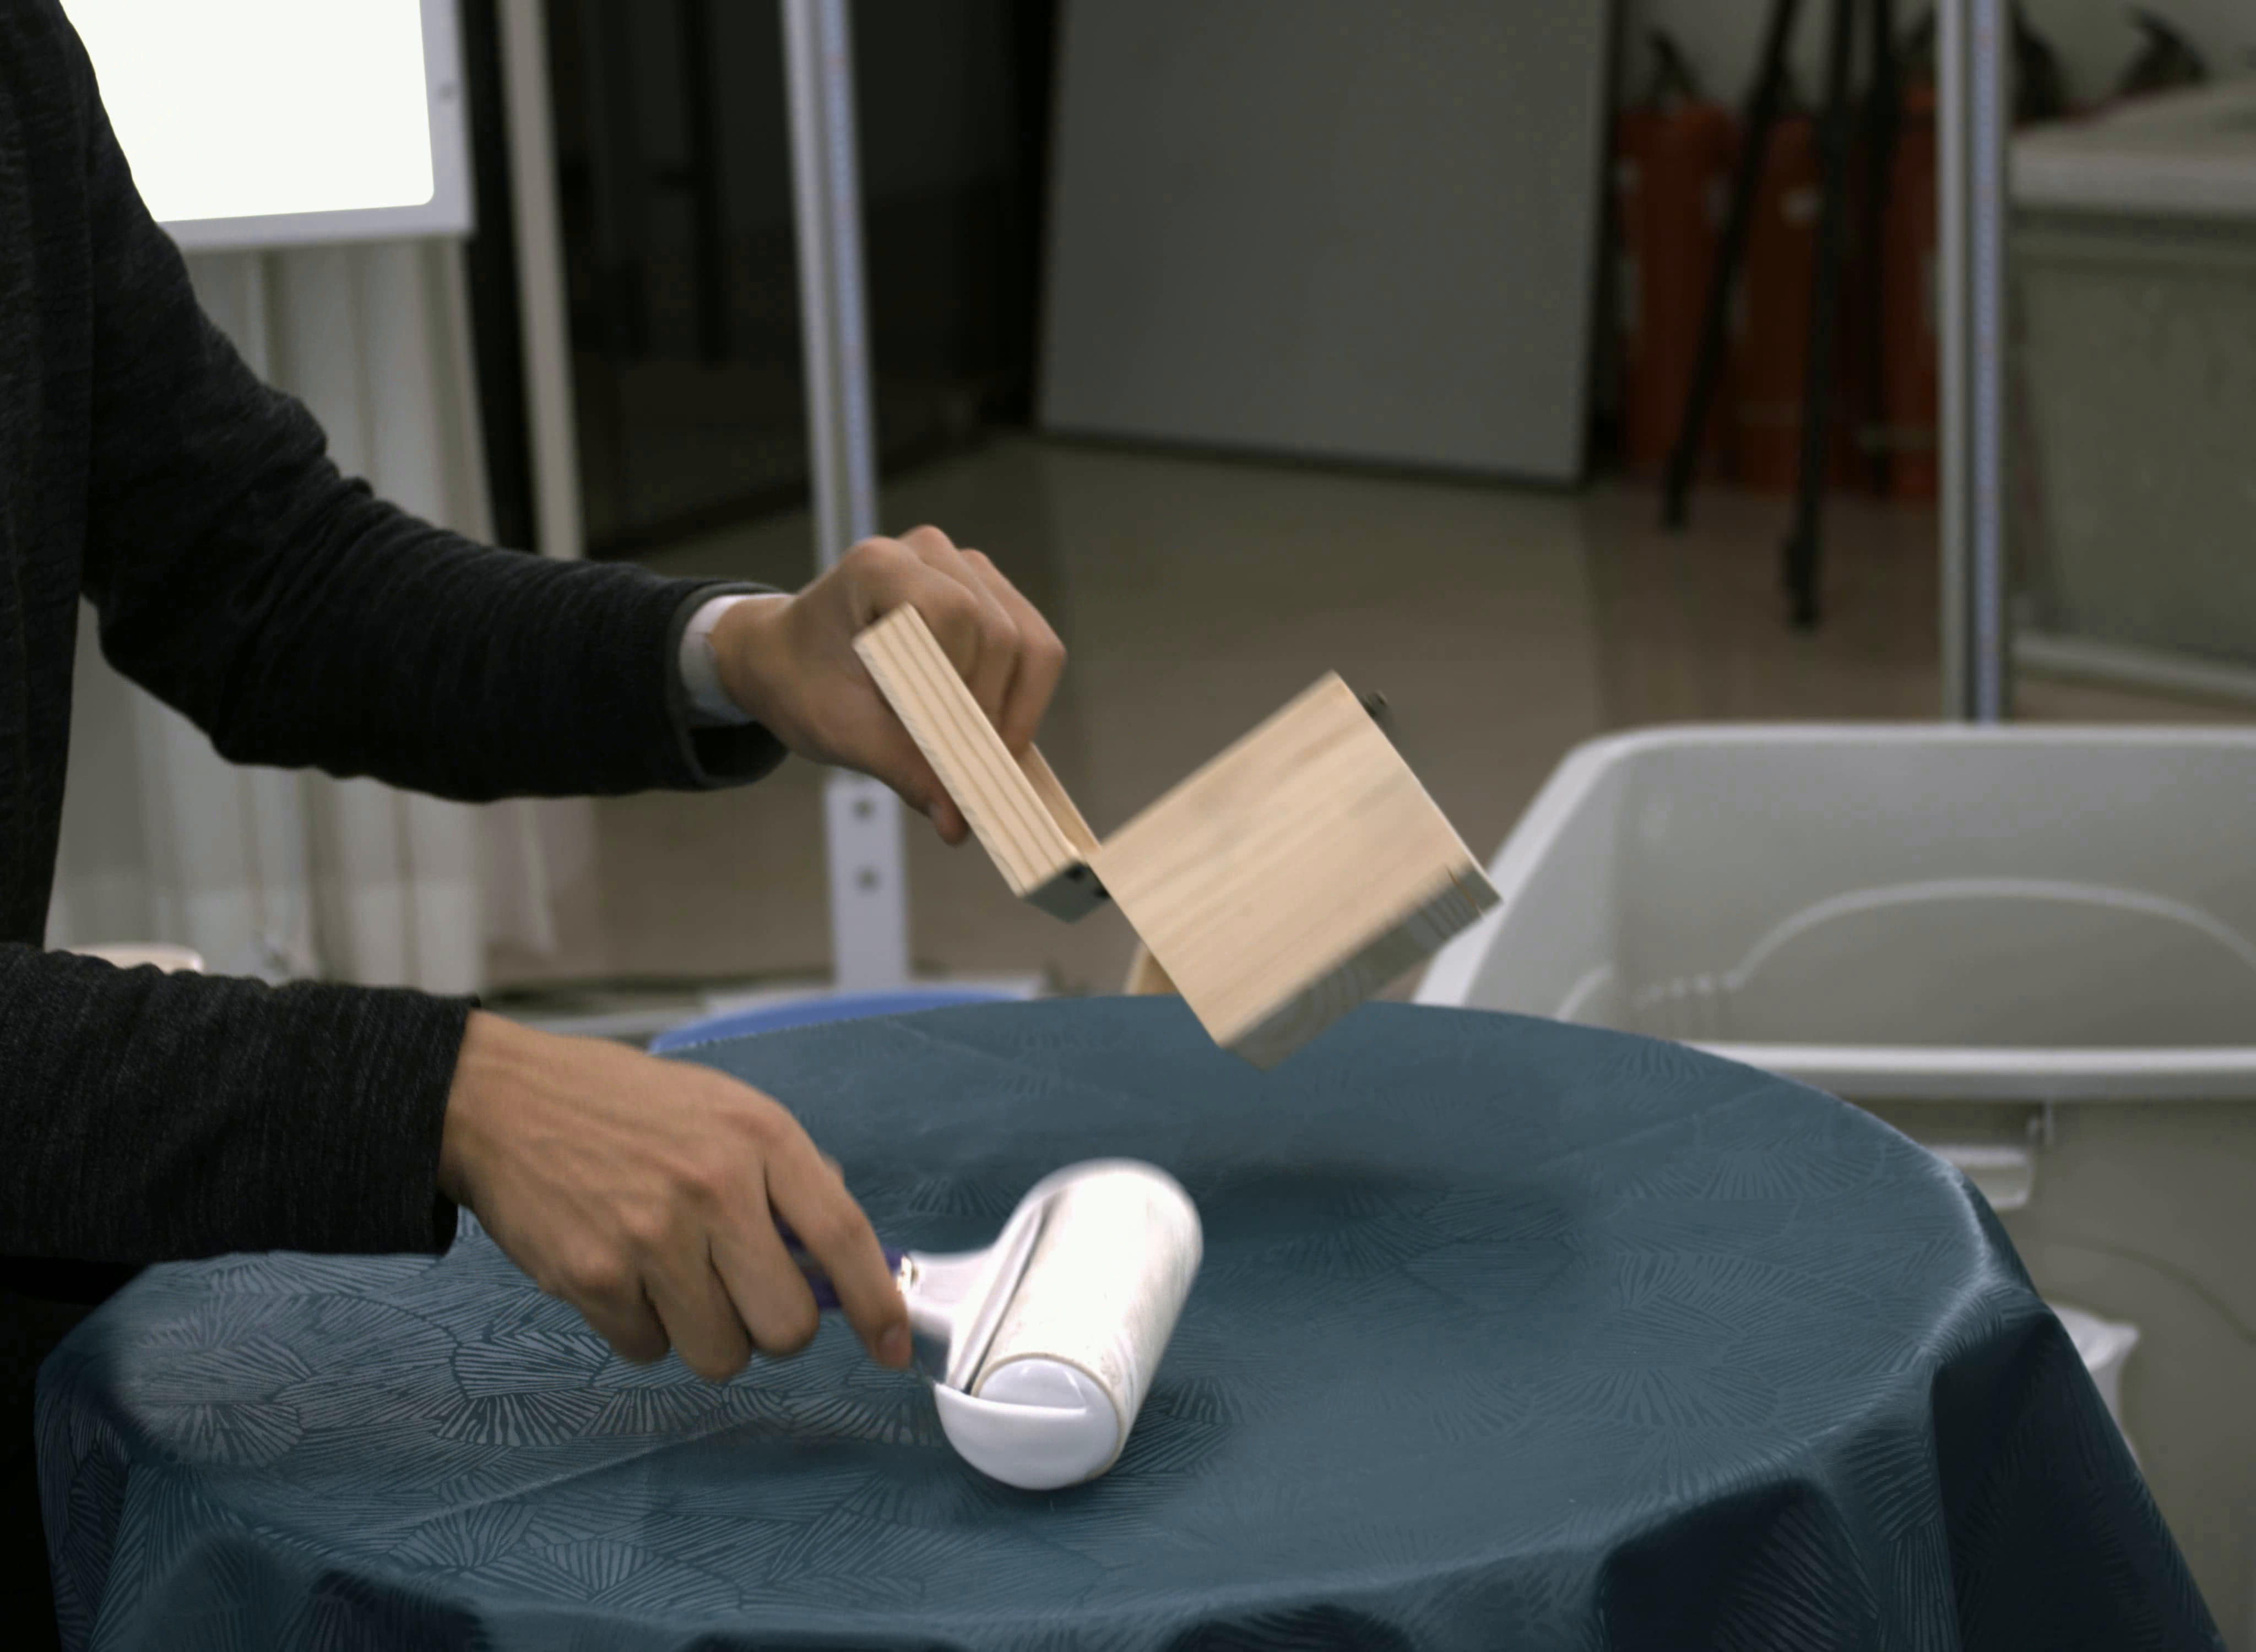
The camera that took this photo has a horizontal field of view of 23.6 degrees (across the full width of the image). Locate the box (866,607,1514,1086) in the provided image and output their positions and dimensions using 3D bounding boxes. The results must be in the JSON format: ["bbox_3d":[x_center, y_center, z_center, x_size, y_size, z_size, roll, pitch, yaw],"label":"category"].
[{"bbox_3d":[0.022,-0.017,1.765,0.133,0.186,0.102,-36,-12,4],"label":"box"}]

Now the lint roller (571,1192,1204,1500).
[{"bbox_3d":[-0.072,0.130,1.554,0.180,0.051,0.132,16,27,10],"label":"lint roller"}]
